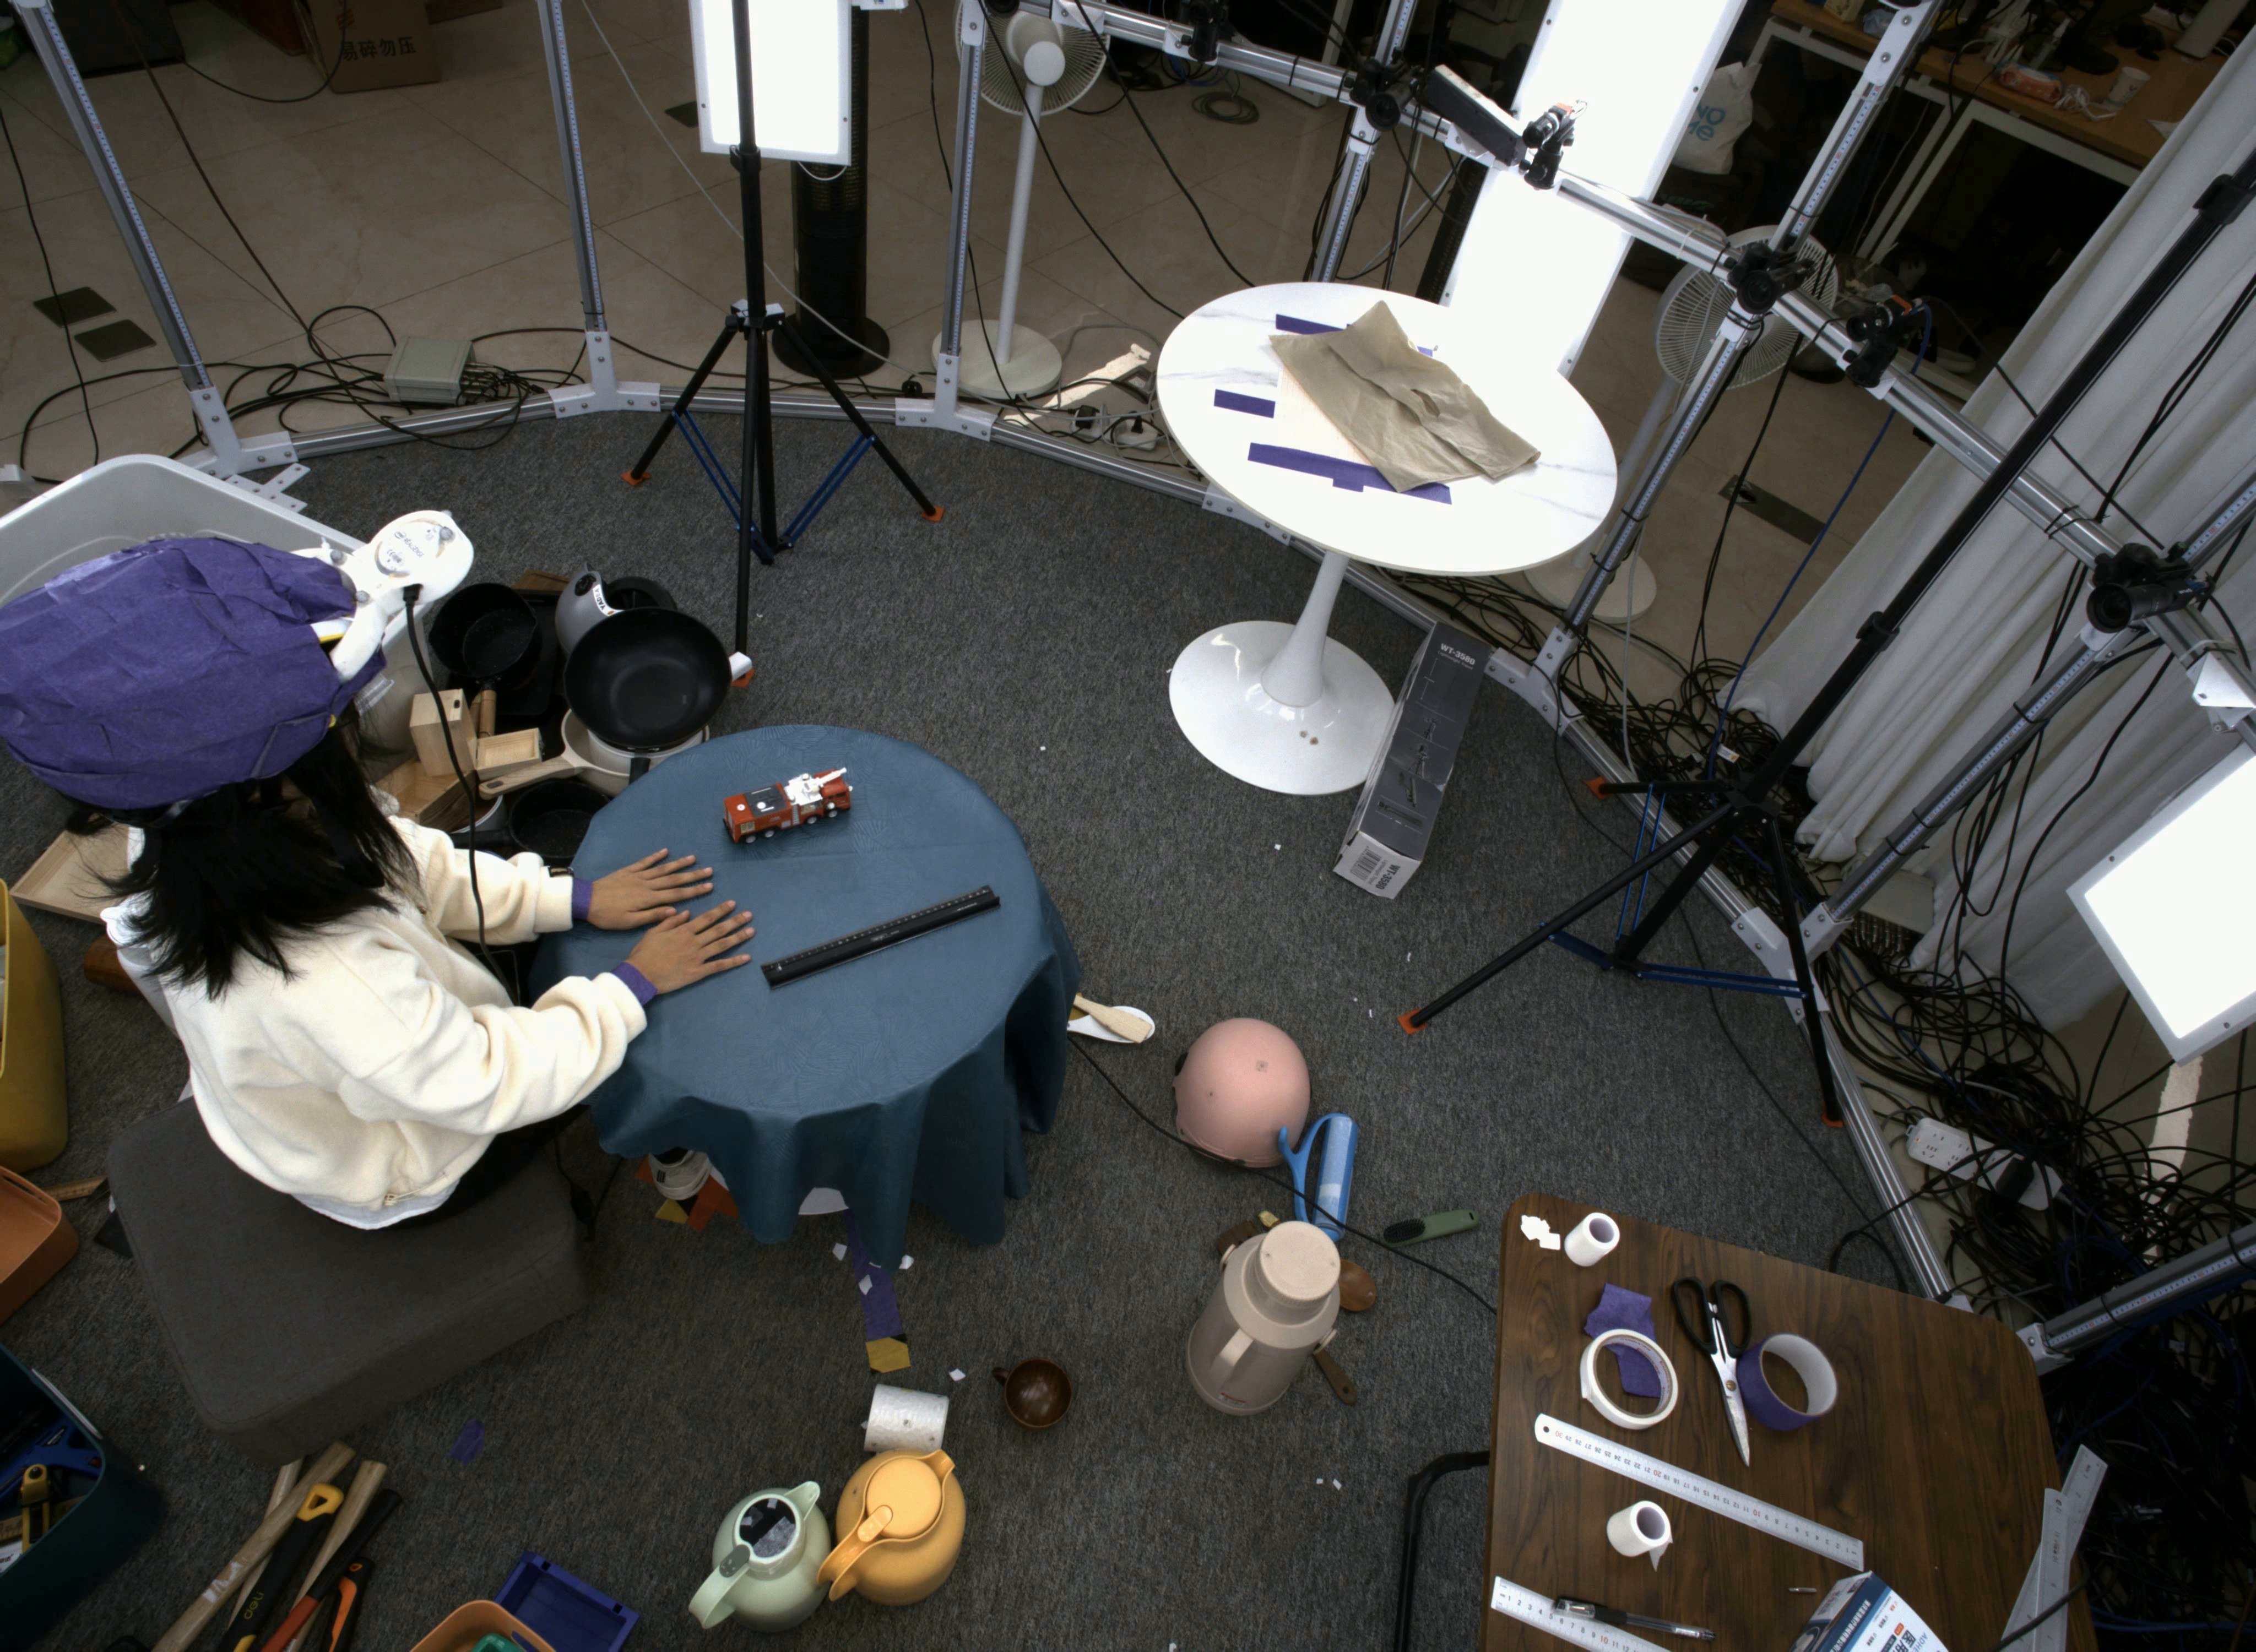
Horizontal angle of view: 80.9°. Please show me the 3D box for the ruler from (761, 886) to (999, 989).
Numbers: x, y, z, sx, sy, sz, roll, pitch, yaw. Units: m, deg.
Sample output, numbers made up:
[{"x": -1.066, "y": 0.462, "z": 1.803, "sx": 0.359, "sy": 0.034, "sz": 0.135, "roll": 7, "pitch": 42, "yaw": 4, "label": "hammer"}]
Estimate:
[{"x": -0.308, "y": 0.131, "z": 1.641, "sx": 0.314, "sy": 0.017, "sz": 0.038, "roll": -19, "pitch": 57, "yaw": -26, "label": "ruler"}]

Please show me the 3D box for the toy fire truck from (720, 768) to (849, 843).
[{"x": -0.448, "y": -0.030, "z": 1.697, "sx": 0.169, "sy": 0.072, "sz": 0.052, "roll": -20, "pitch": 59, "yaw": -25, "label": "toy fire truck"}]
